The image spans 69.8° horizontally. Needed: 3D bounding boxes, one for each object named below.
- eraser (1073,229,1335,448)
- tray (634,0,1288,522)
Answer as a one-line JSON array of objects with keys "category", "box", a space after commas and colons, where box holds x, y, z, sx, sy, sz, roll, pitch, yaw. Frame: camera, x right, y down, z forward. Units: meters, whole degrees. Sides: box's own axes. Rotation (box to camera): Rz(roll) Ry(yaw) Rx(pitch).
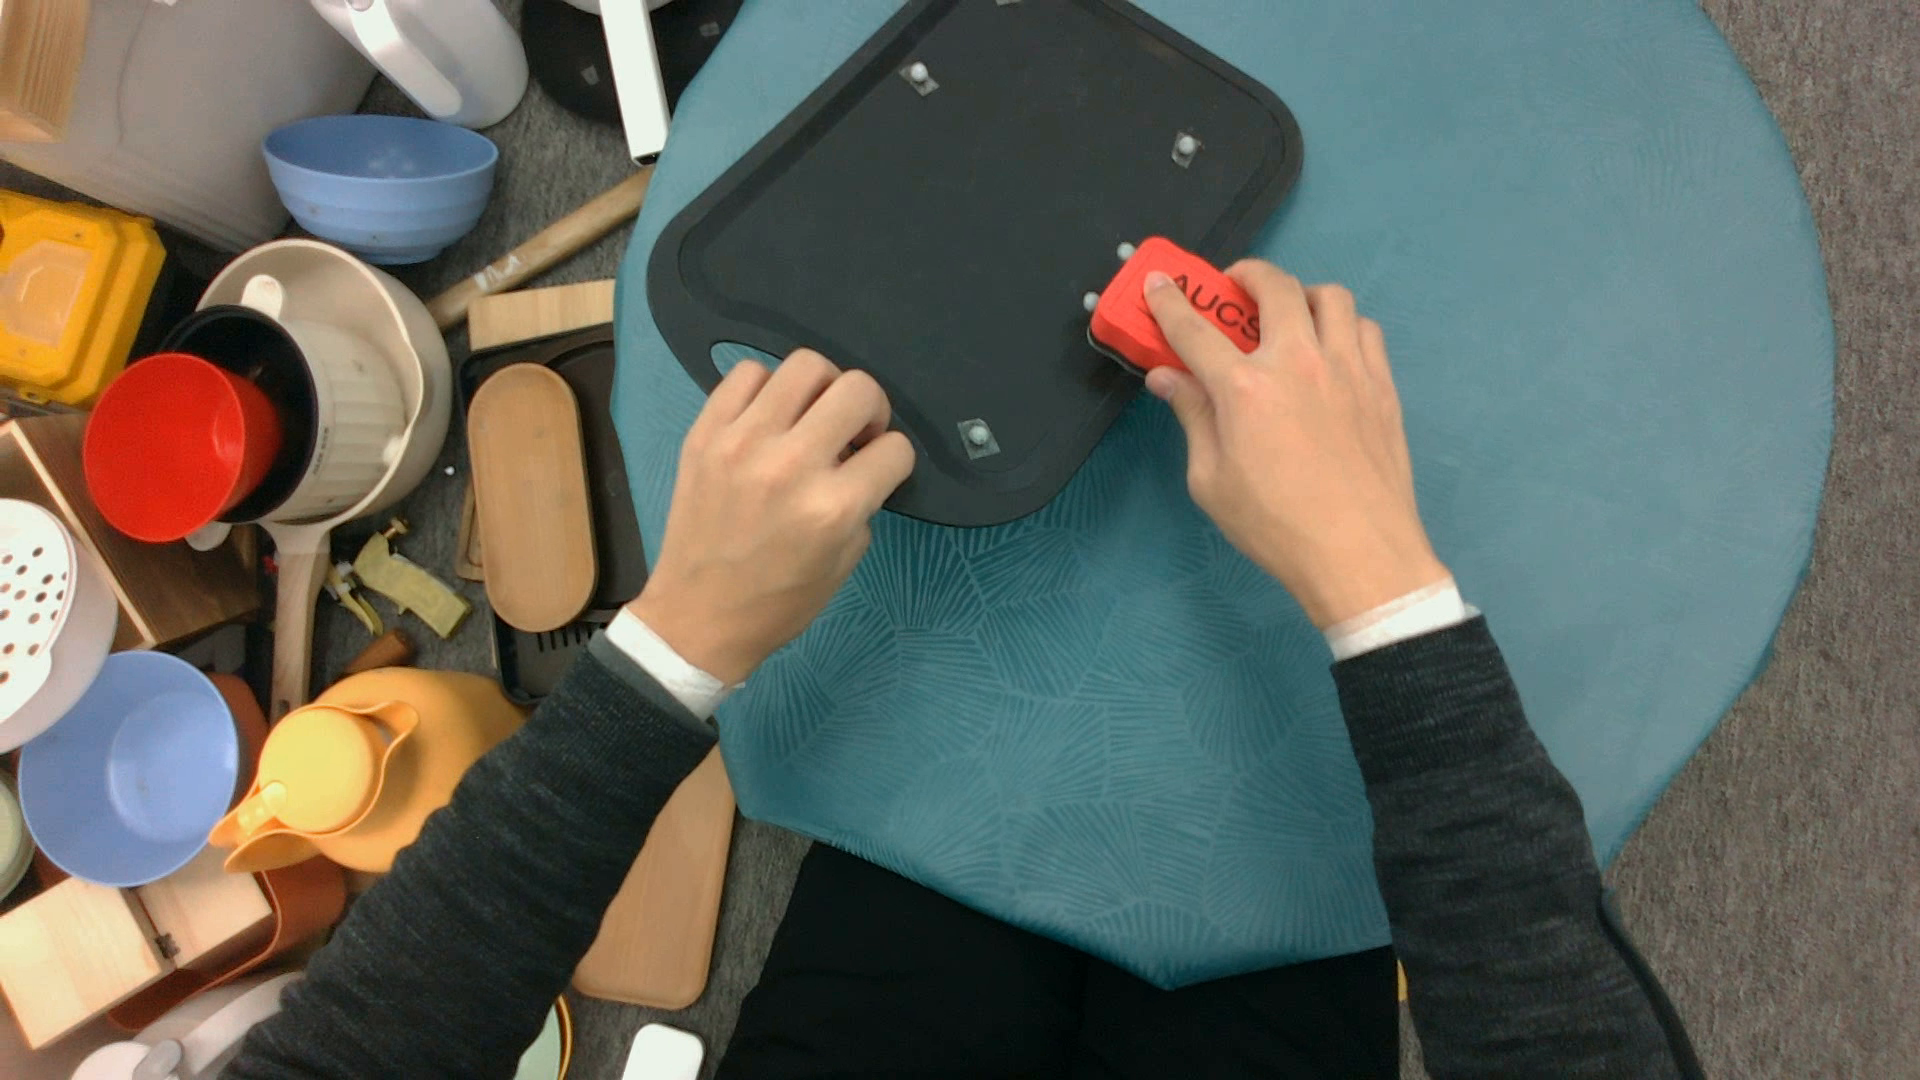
[{"category": "eraser", "box": [0.108, -0.091, 0.615, 0.108, 0.023, 0.059, 32, 68, 6]}, {"category": "tray", "box": [0.008, -0.152, 0.639, 0.211, 0.010, 0.327, 35, 63, 8]}]
